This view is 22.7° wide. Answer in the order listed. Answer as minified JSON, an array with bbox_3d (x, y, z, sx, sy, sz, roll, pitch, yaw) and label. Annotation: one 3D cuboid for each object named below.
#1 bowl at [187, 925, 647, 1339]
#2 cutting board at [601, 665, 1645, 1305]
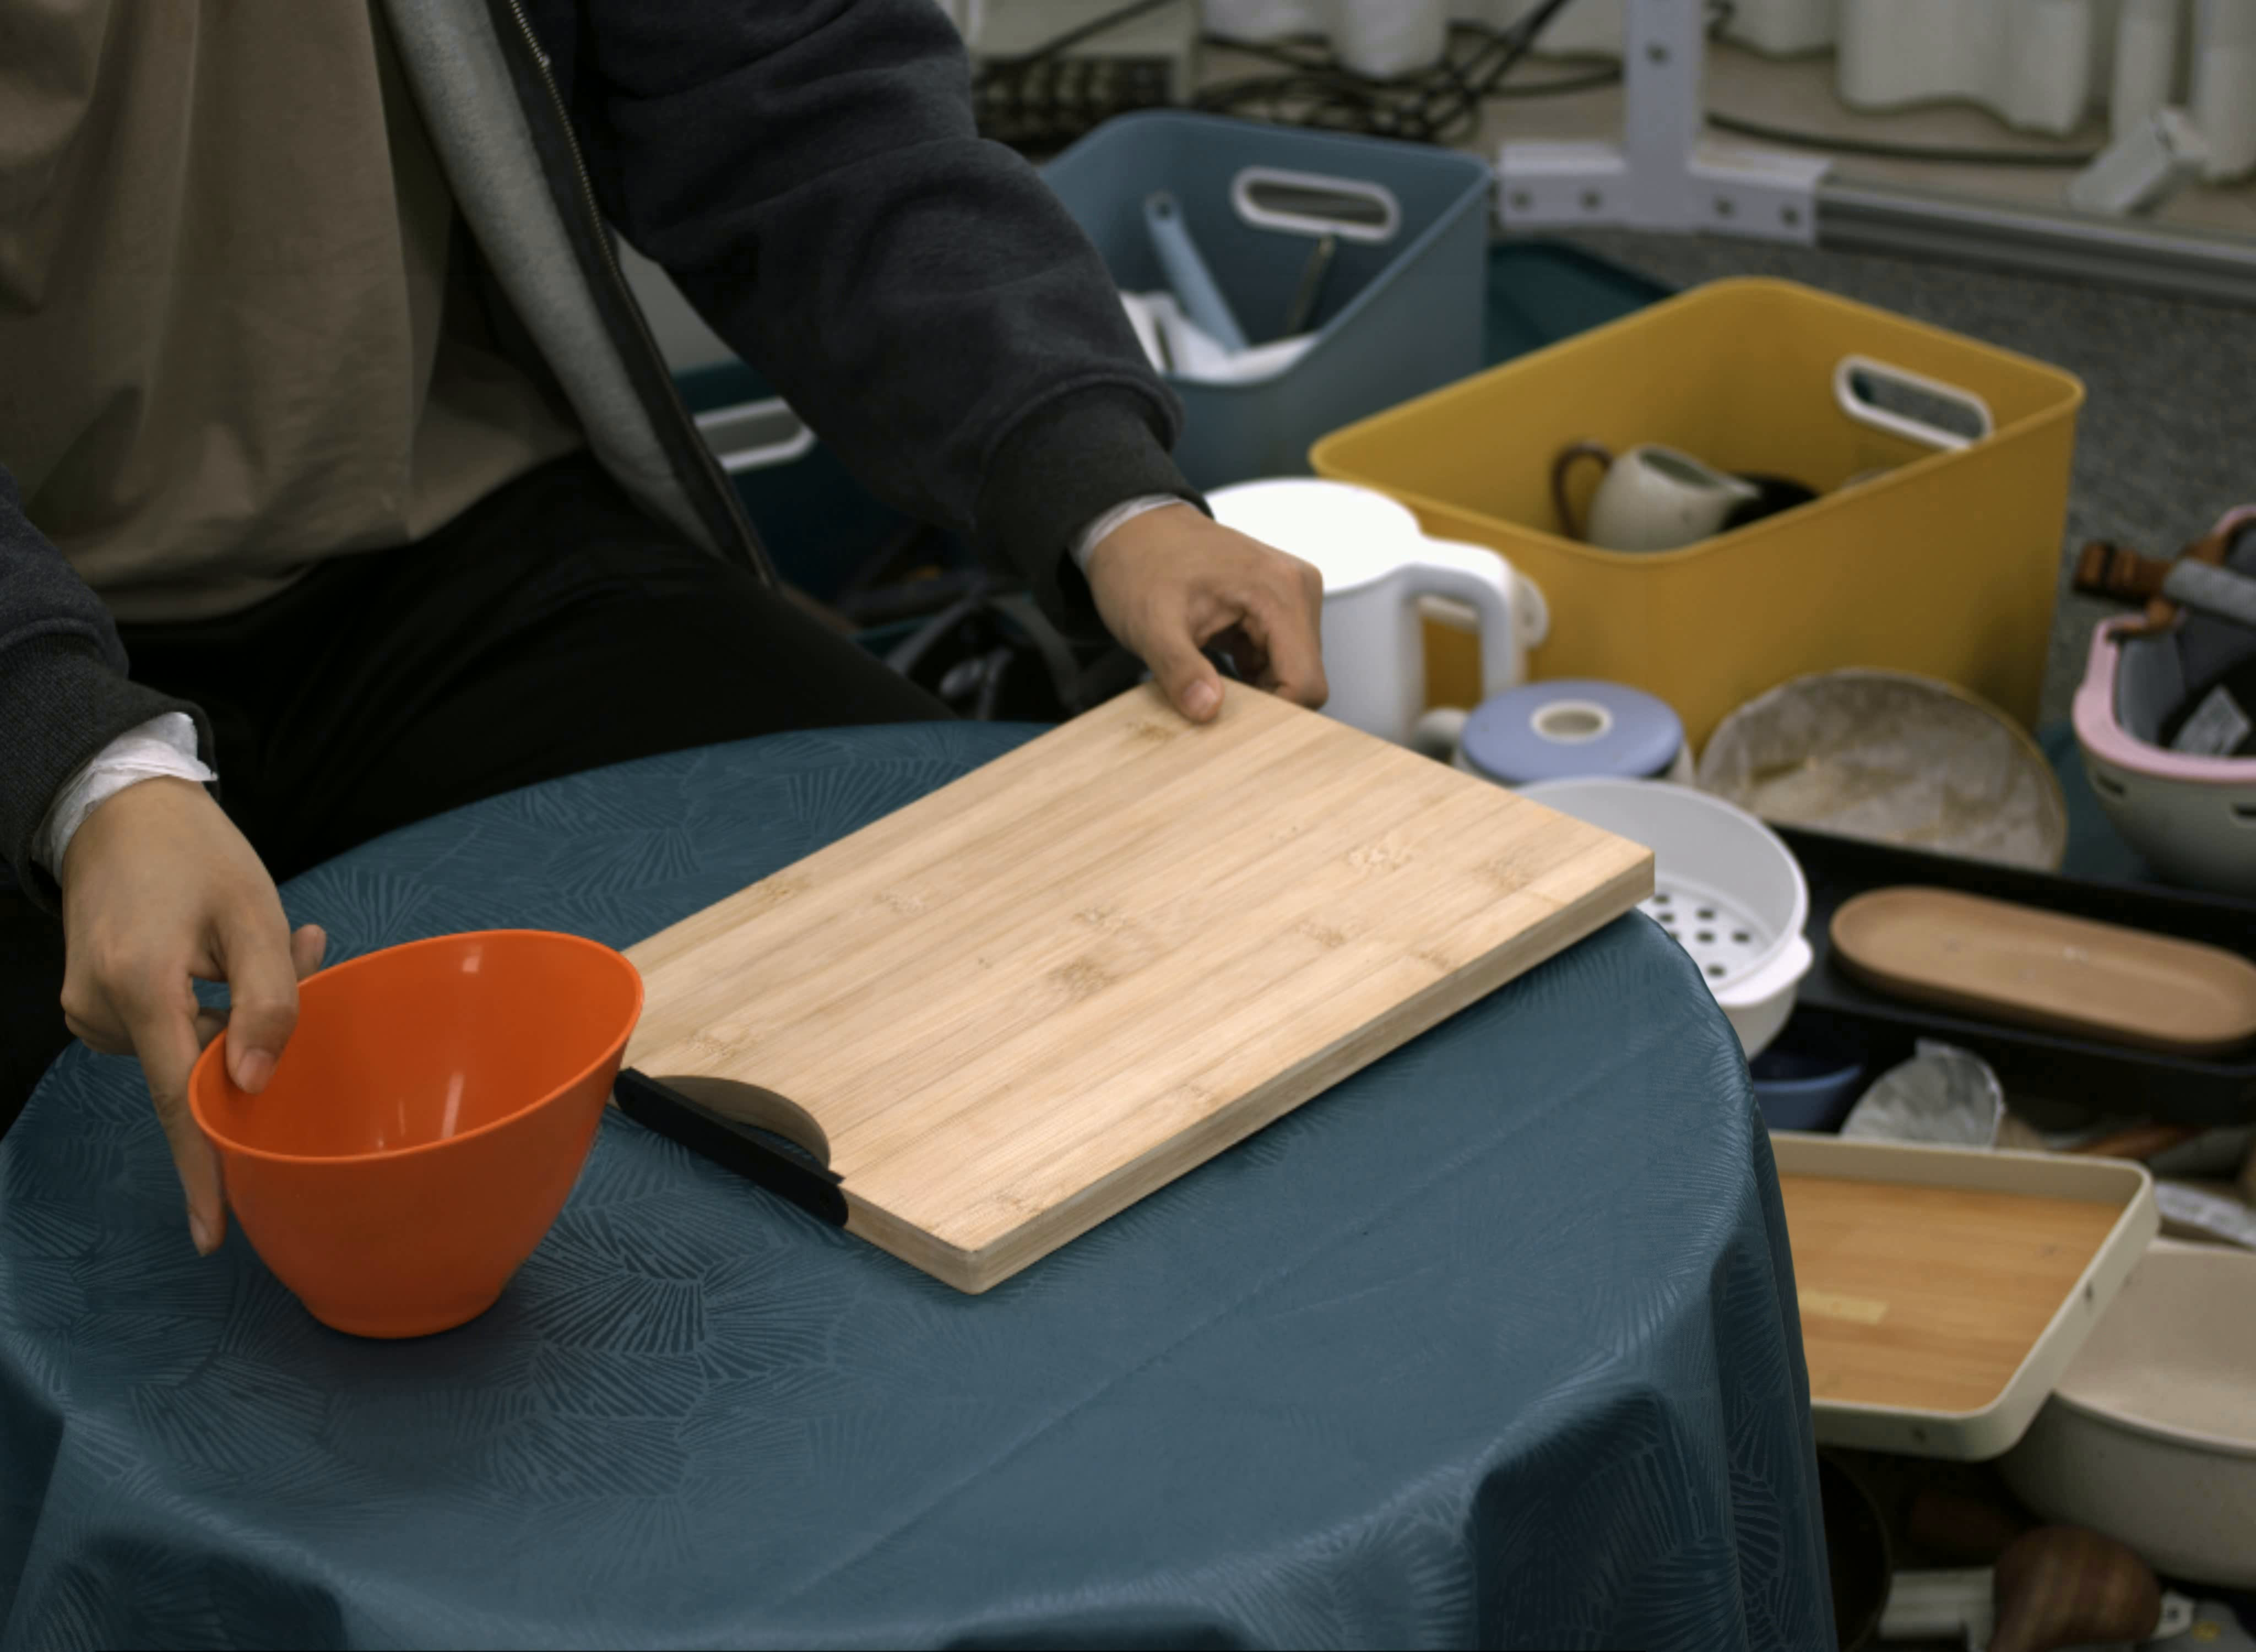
[{"bbox_3d":[-0.226,0.105,1.804,0.147,0.103,0.150,0,28,0],"label":"bowl"},{"bbox_3d":[-0.018,0.047,1.982,0.250,0.023,0.353,22,37,40],"label":"cutting board"}]
